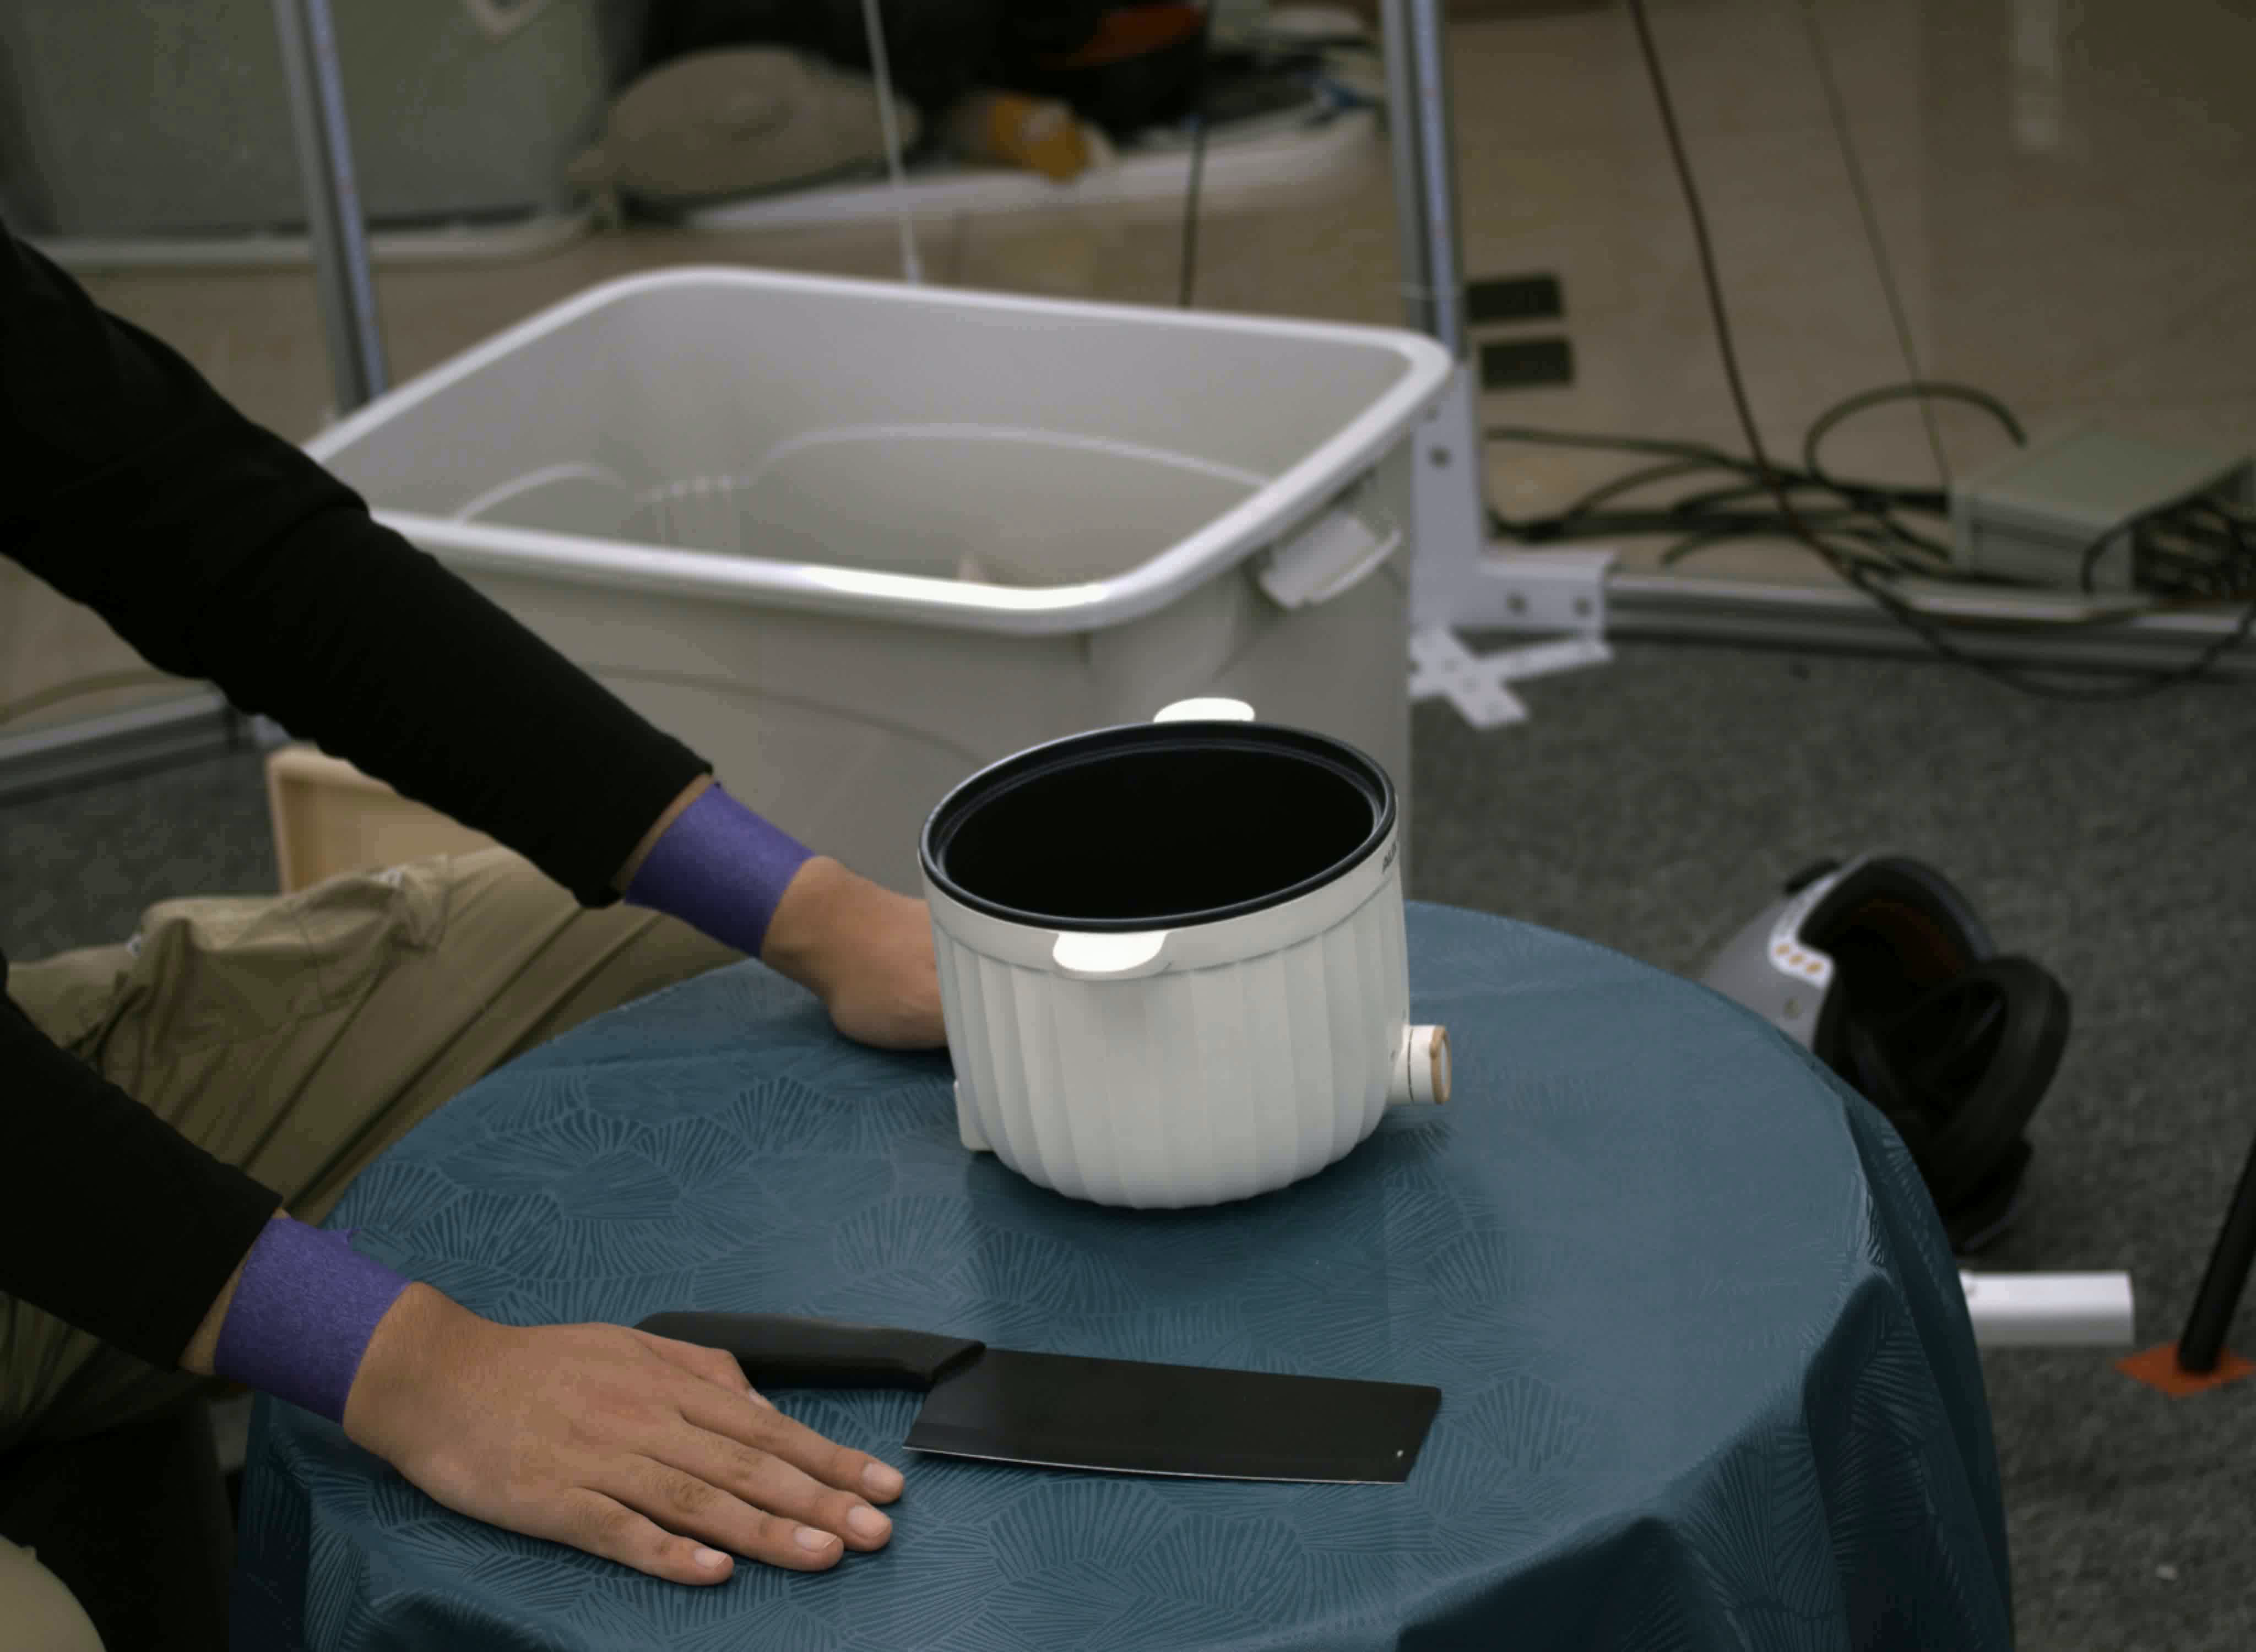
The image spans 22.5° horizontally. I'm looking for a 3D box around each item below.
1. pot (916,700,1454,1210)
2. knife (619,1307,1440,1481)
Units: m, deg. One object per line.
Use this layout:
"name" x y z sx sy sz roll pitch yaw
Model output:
"pot" 0.023 0.056 2.156 0.190 0.145 0.237 -4 26 13
"knife" -0.040 0.201 2.010 0.301 0.021 0.080 6 29 20
